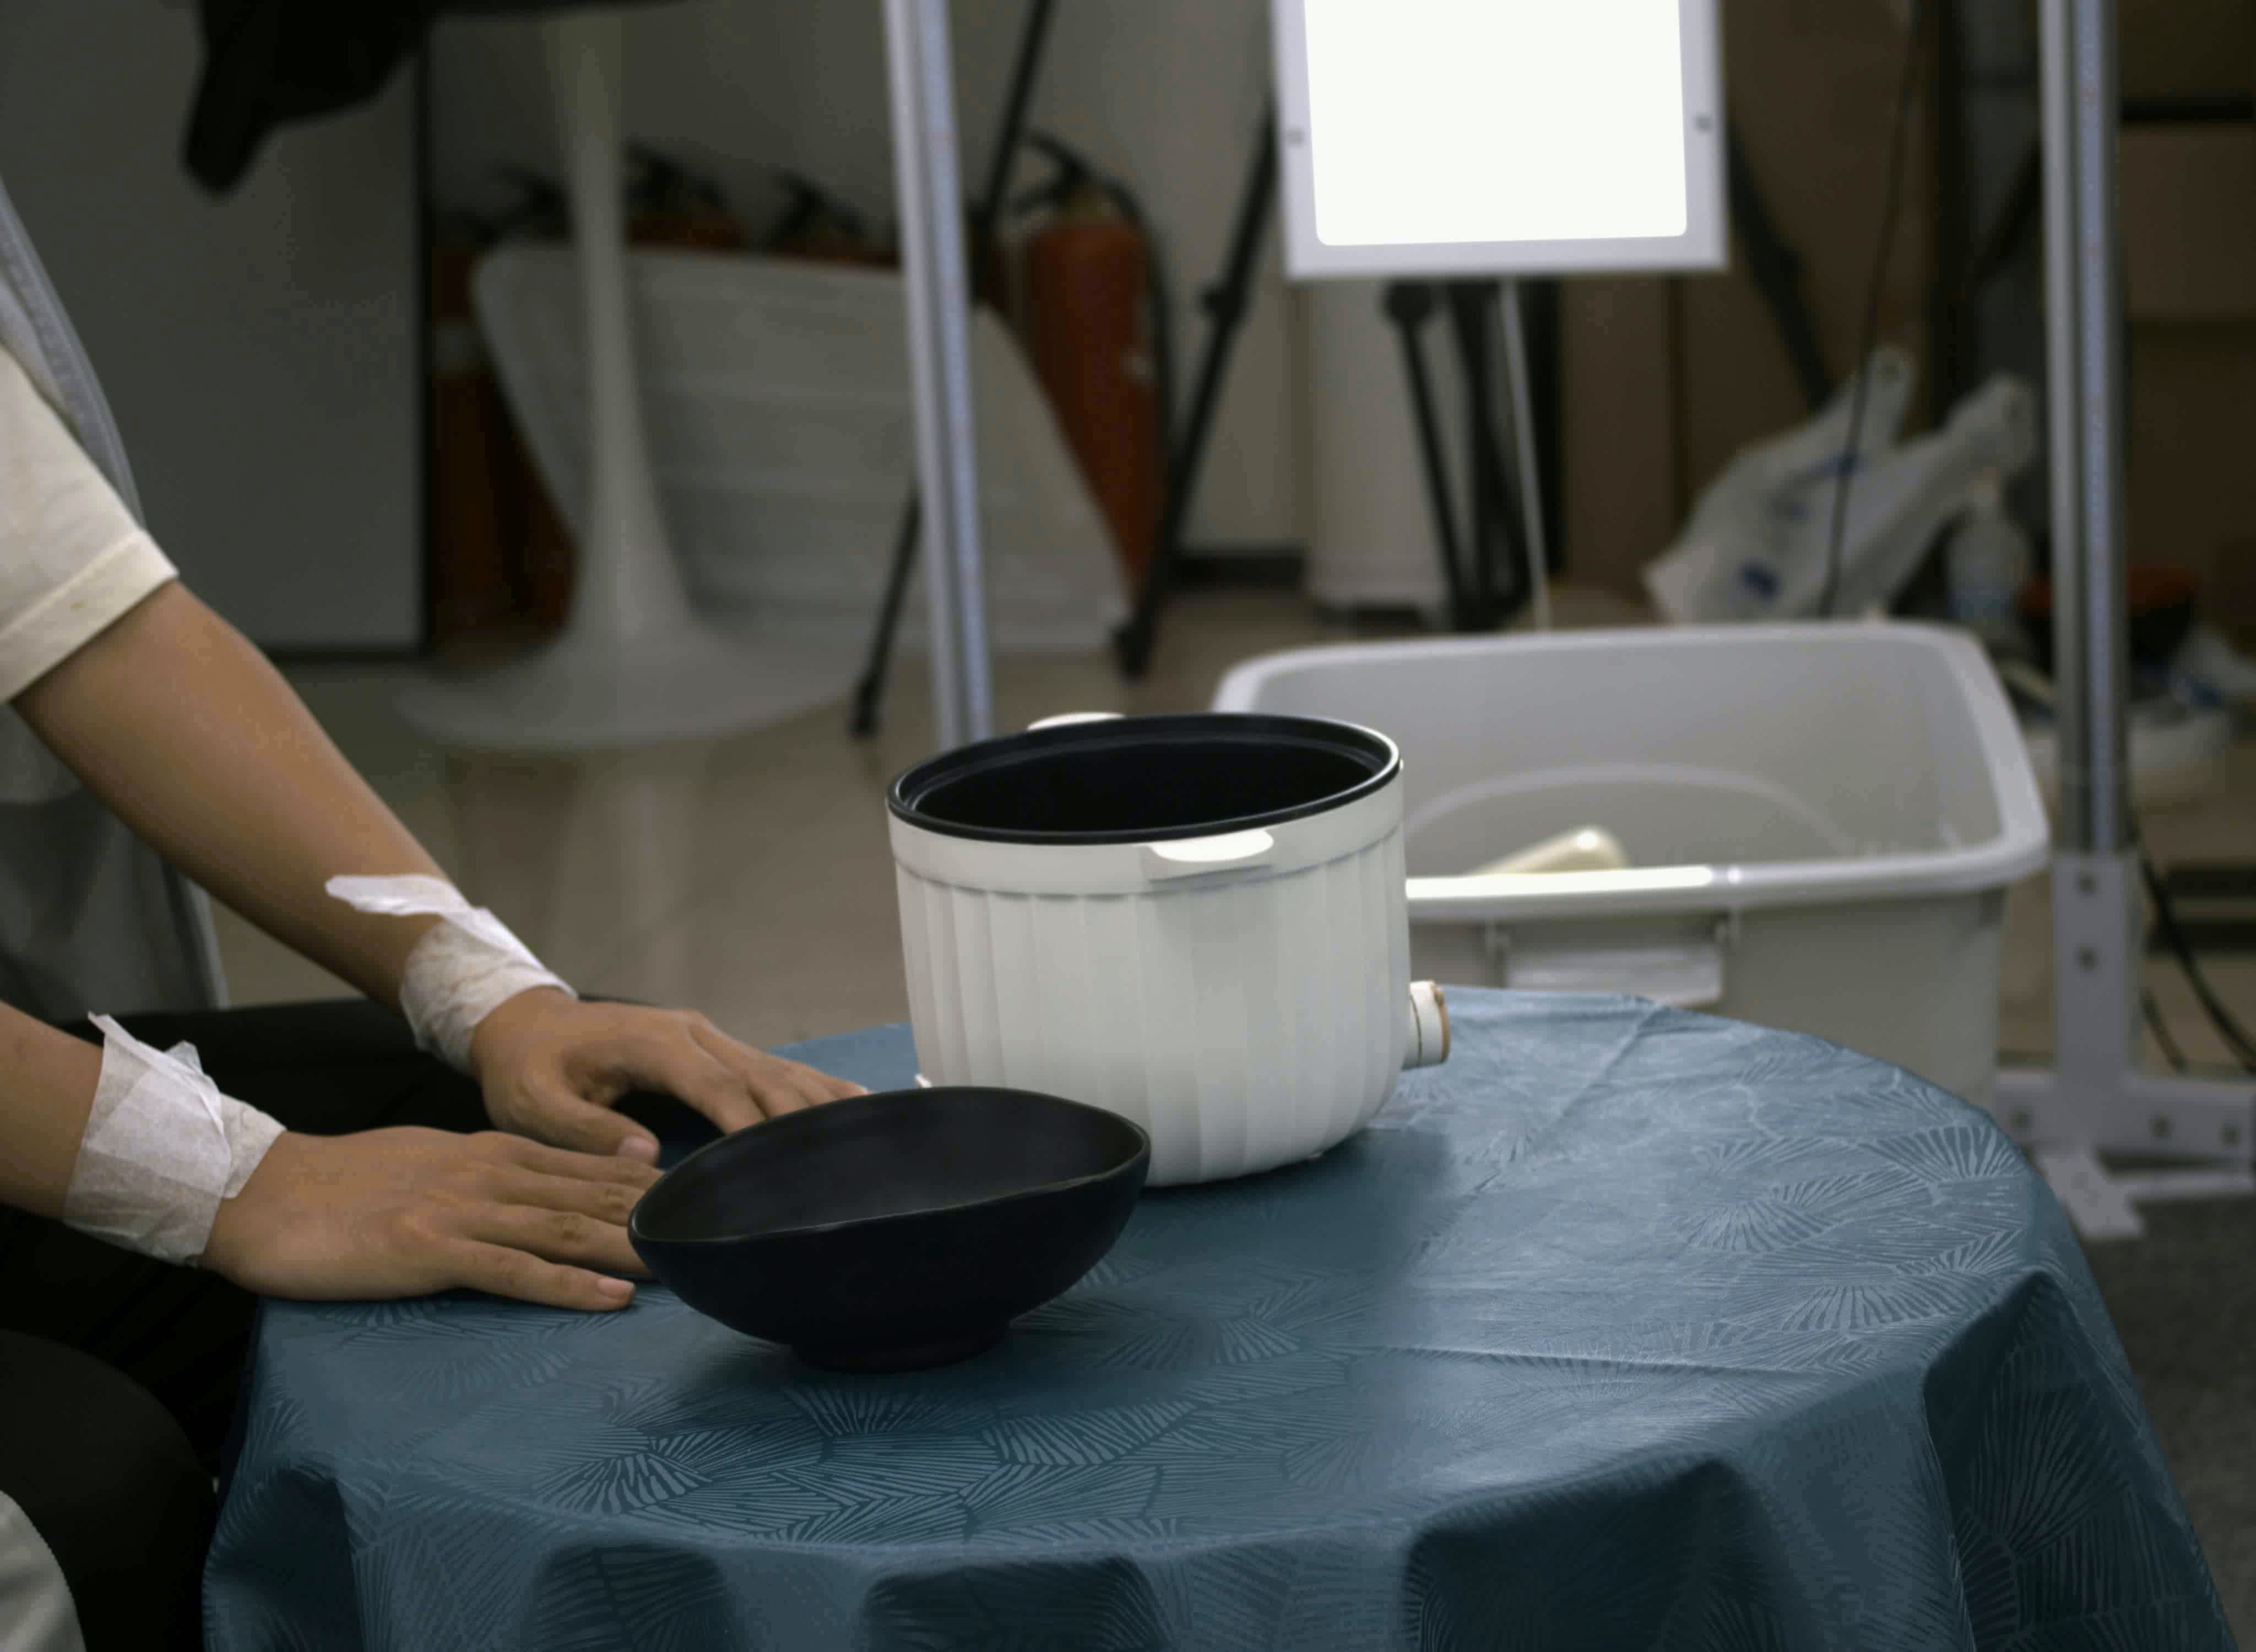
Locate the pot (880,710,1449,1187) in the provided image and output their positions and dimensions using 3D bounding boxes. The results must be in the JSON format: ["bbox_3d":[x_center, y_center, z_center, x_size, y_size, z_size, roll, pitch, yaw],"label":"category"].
[{"bbox_3d":[0.015,0.044,1.939,0.188,0.143,0.242,-11,15,-11],"label":"pot"}]

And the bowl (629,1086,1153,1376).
[{"bbox_3d":[-0.073,0.134,1.757,0.168,0.067,0.138,-9,12,-11],"label":"bowl"}]
